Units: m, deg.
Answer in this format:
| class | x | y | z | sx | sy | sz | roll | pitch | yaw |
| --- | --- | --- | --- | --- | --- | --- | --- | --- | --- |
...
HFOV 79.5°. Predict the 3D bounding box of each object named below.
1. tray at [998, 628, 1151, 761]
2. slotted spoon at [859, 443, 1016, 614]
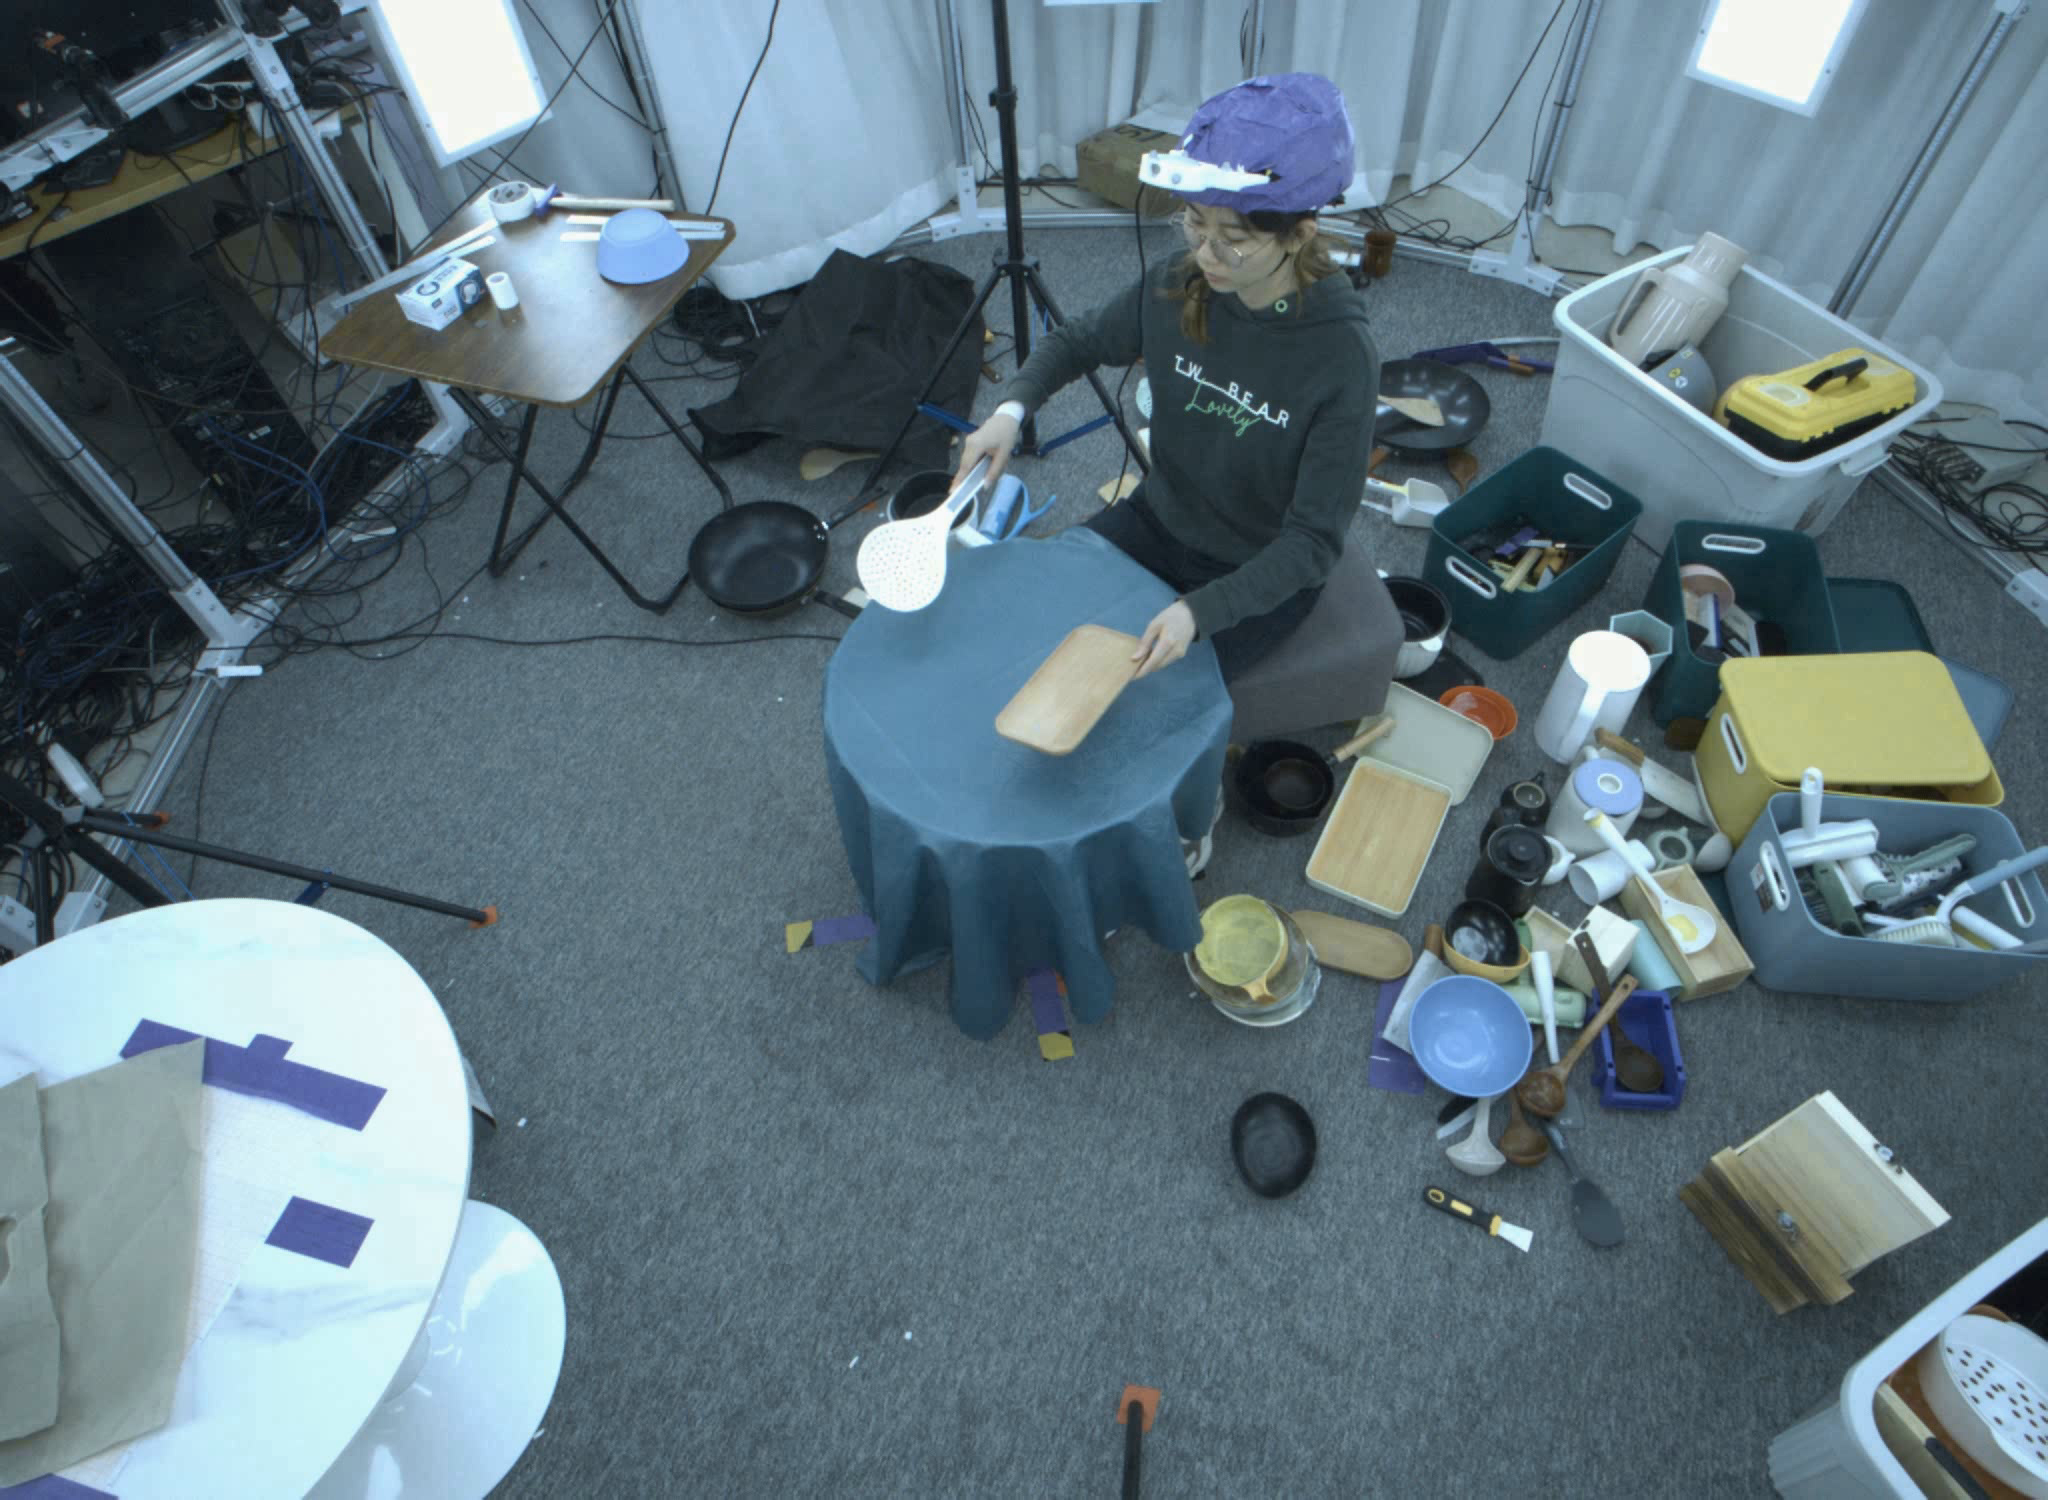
| class | x | y | z | sx | sy | sz | roll | pitch | yaw |
| --- | --- | --- | --- | --- | --- | --- | --- | --- | --- |
| tray | 0.073 | -0.080 | 1.727 | 0.128 | 0.023 | 0.252 | 23 | 53 | 24 |
| slotted spoon | -0.125 | -0.352 | 1.875 | 0.137 | 0.045 | 0.350 | 42 | 74 | -15 |
